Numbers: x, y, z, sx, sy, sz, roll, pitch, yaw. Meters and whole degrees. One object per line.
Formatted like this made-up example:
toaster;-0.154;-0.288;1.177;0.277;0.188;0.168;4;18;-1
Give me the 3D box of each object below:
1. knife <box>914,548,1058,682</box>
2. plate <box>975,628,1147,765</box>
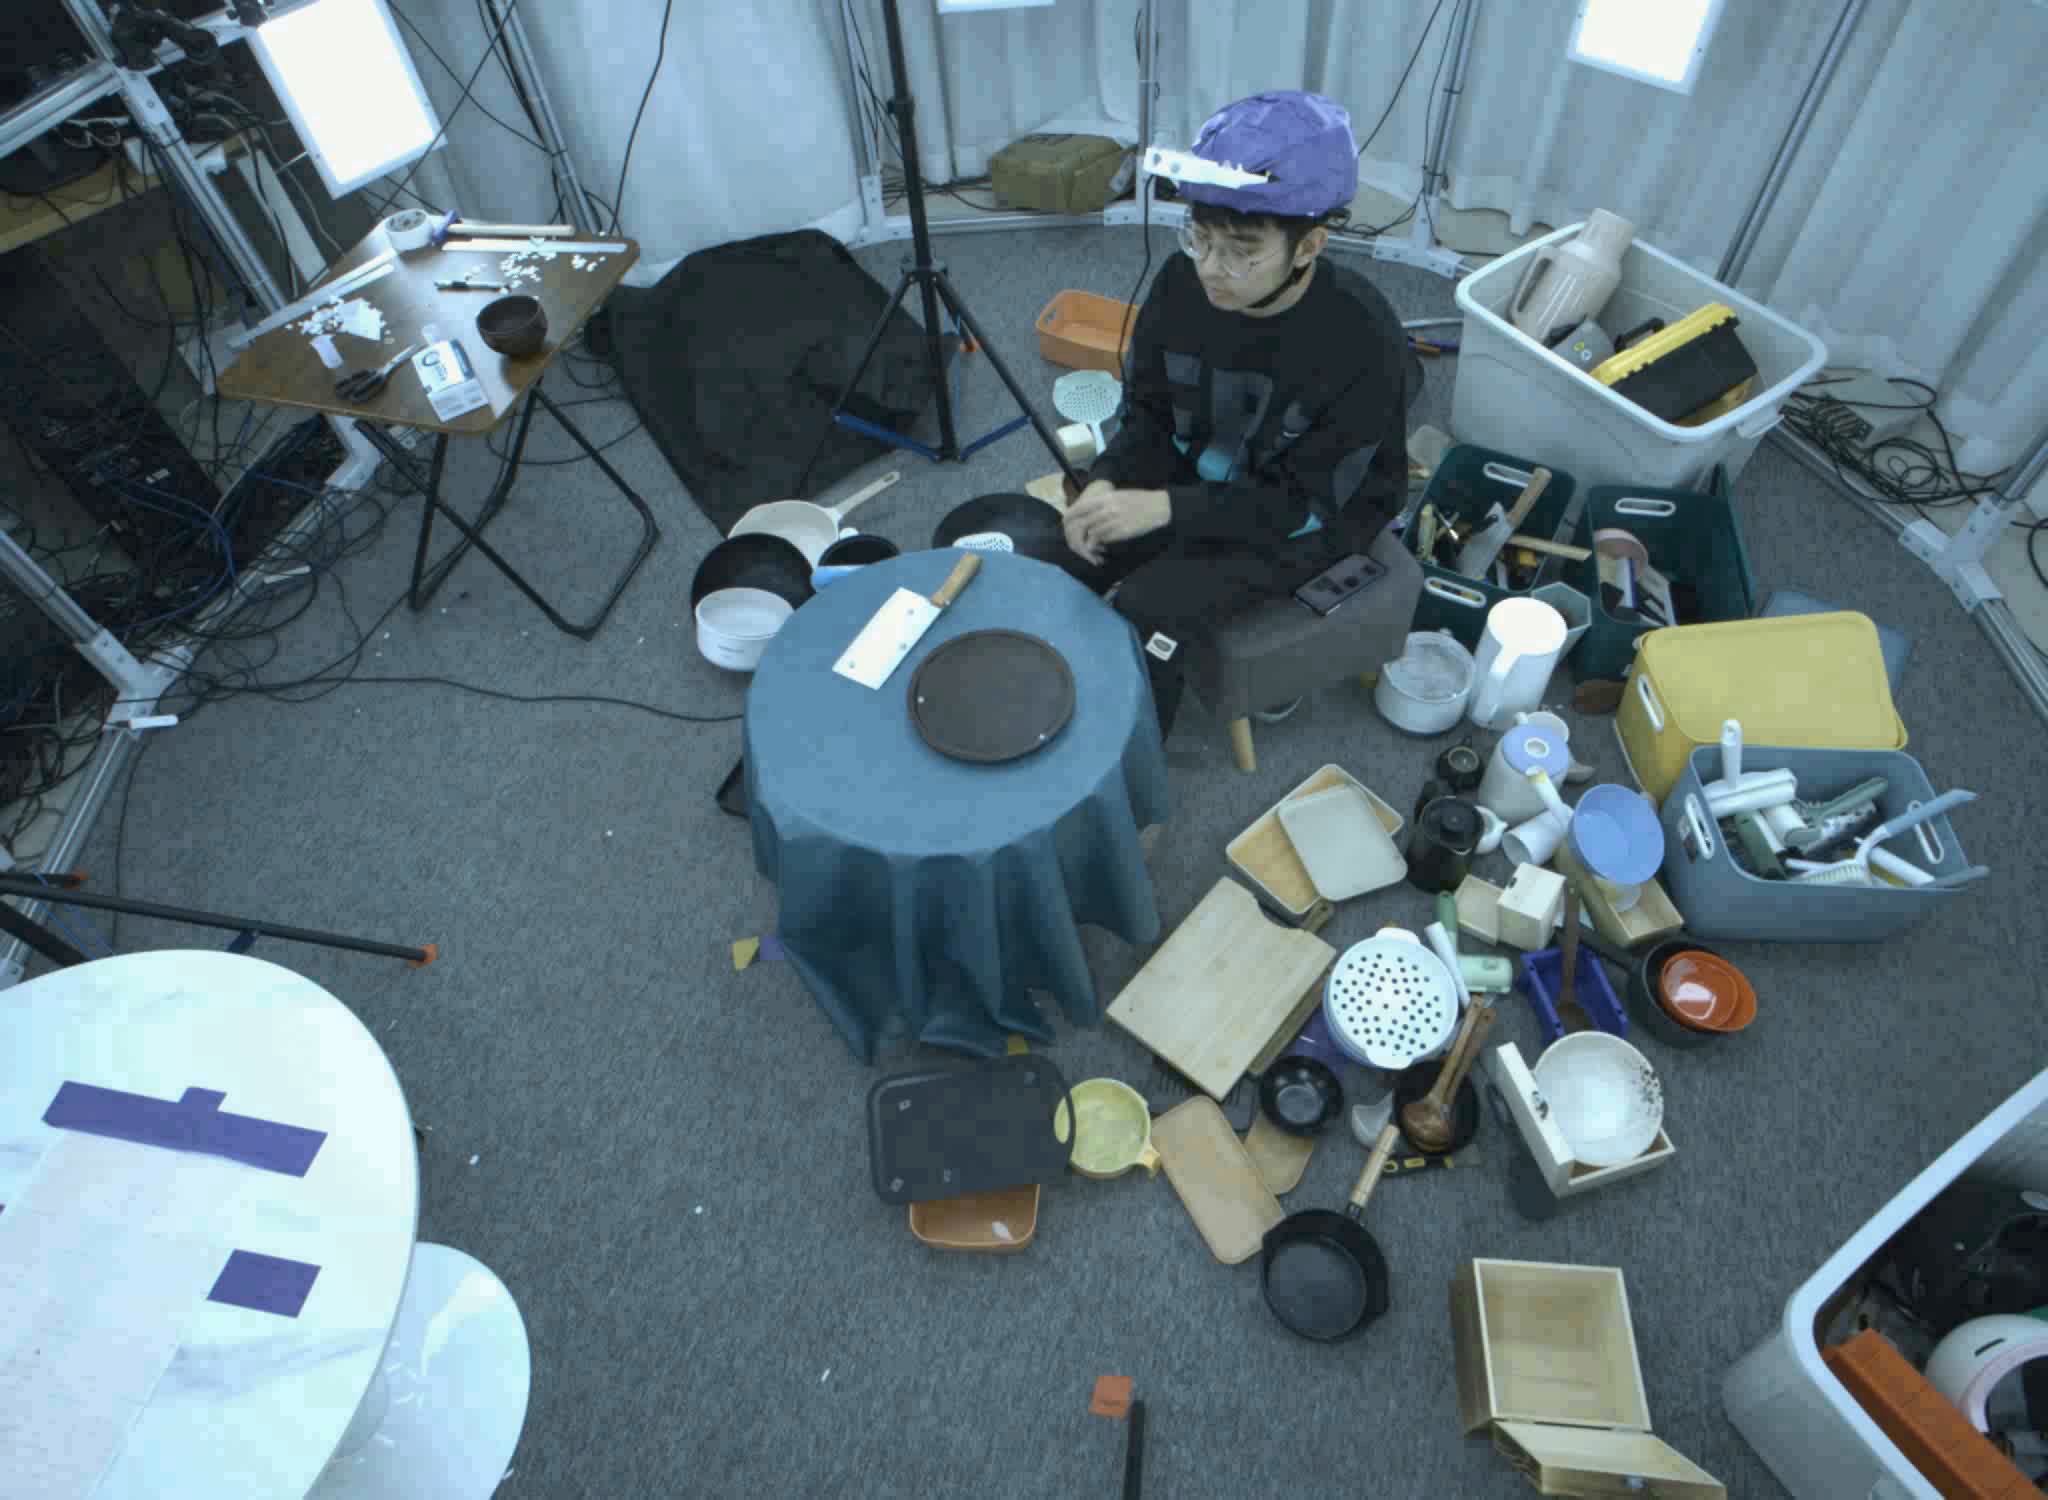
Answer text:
knife;-0.063;-0.226;1.940;0.091;0.021;0.307;29;63;22
plate;0.055;-0.081;1.826;0.254;0.029;0.252;0;56;1
